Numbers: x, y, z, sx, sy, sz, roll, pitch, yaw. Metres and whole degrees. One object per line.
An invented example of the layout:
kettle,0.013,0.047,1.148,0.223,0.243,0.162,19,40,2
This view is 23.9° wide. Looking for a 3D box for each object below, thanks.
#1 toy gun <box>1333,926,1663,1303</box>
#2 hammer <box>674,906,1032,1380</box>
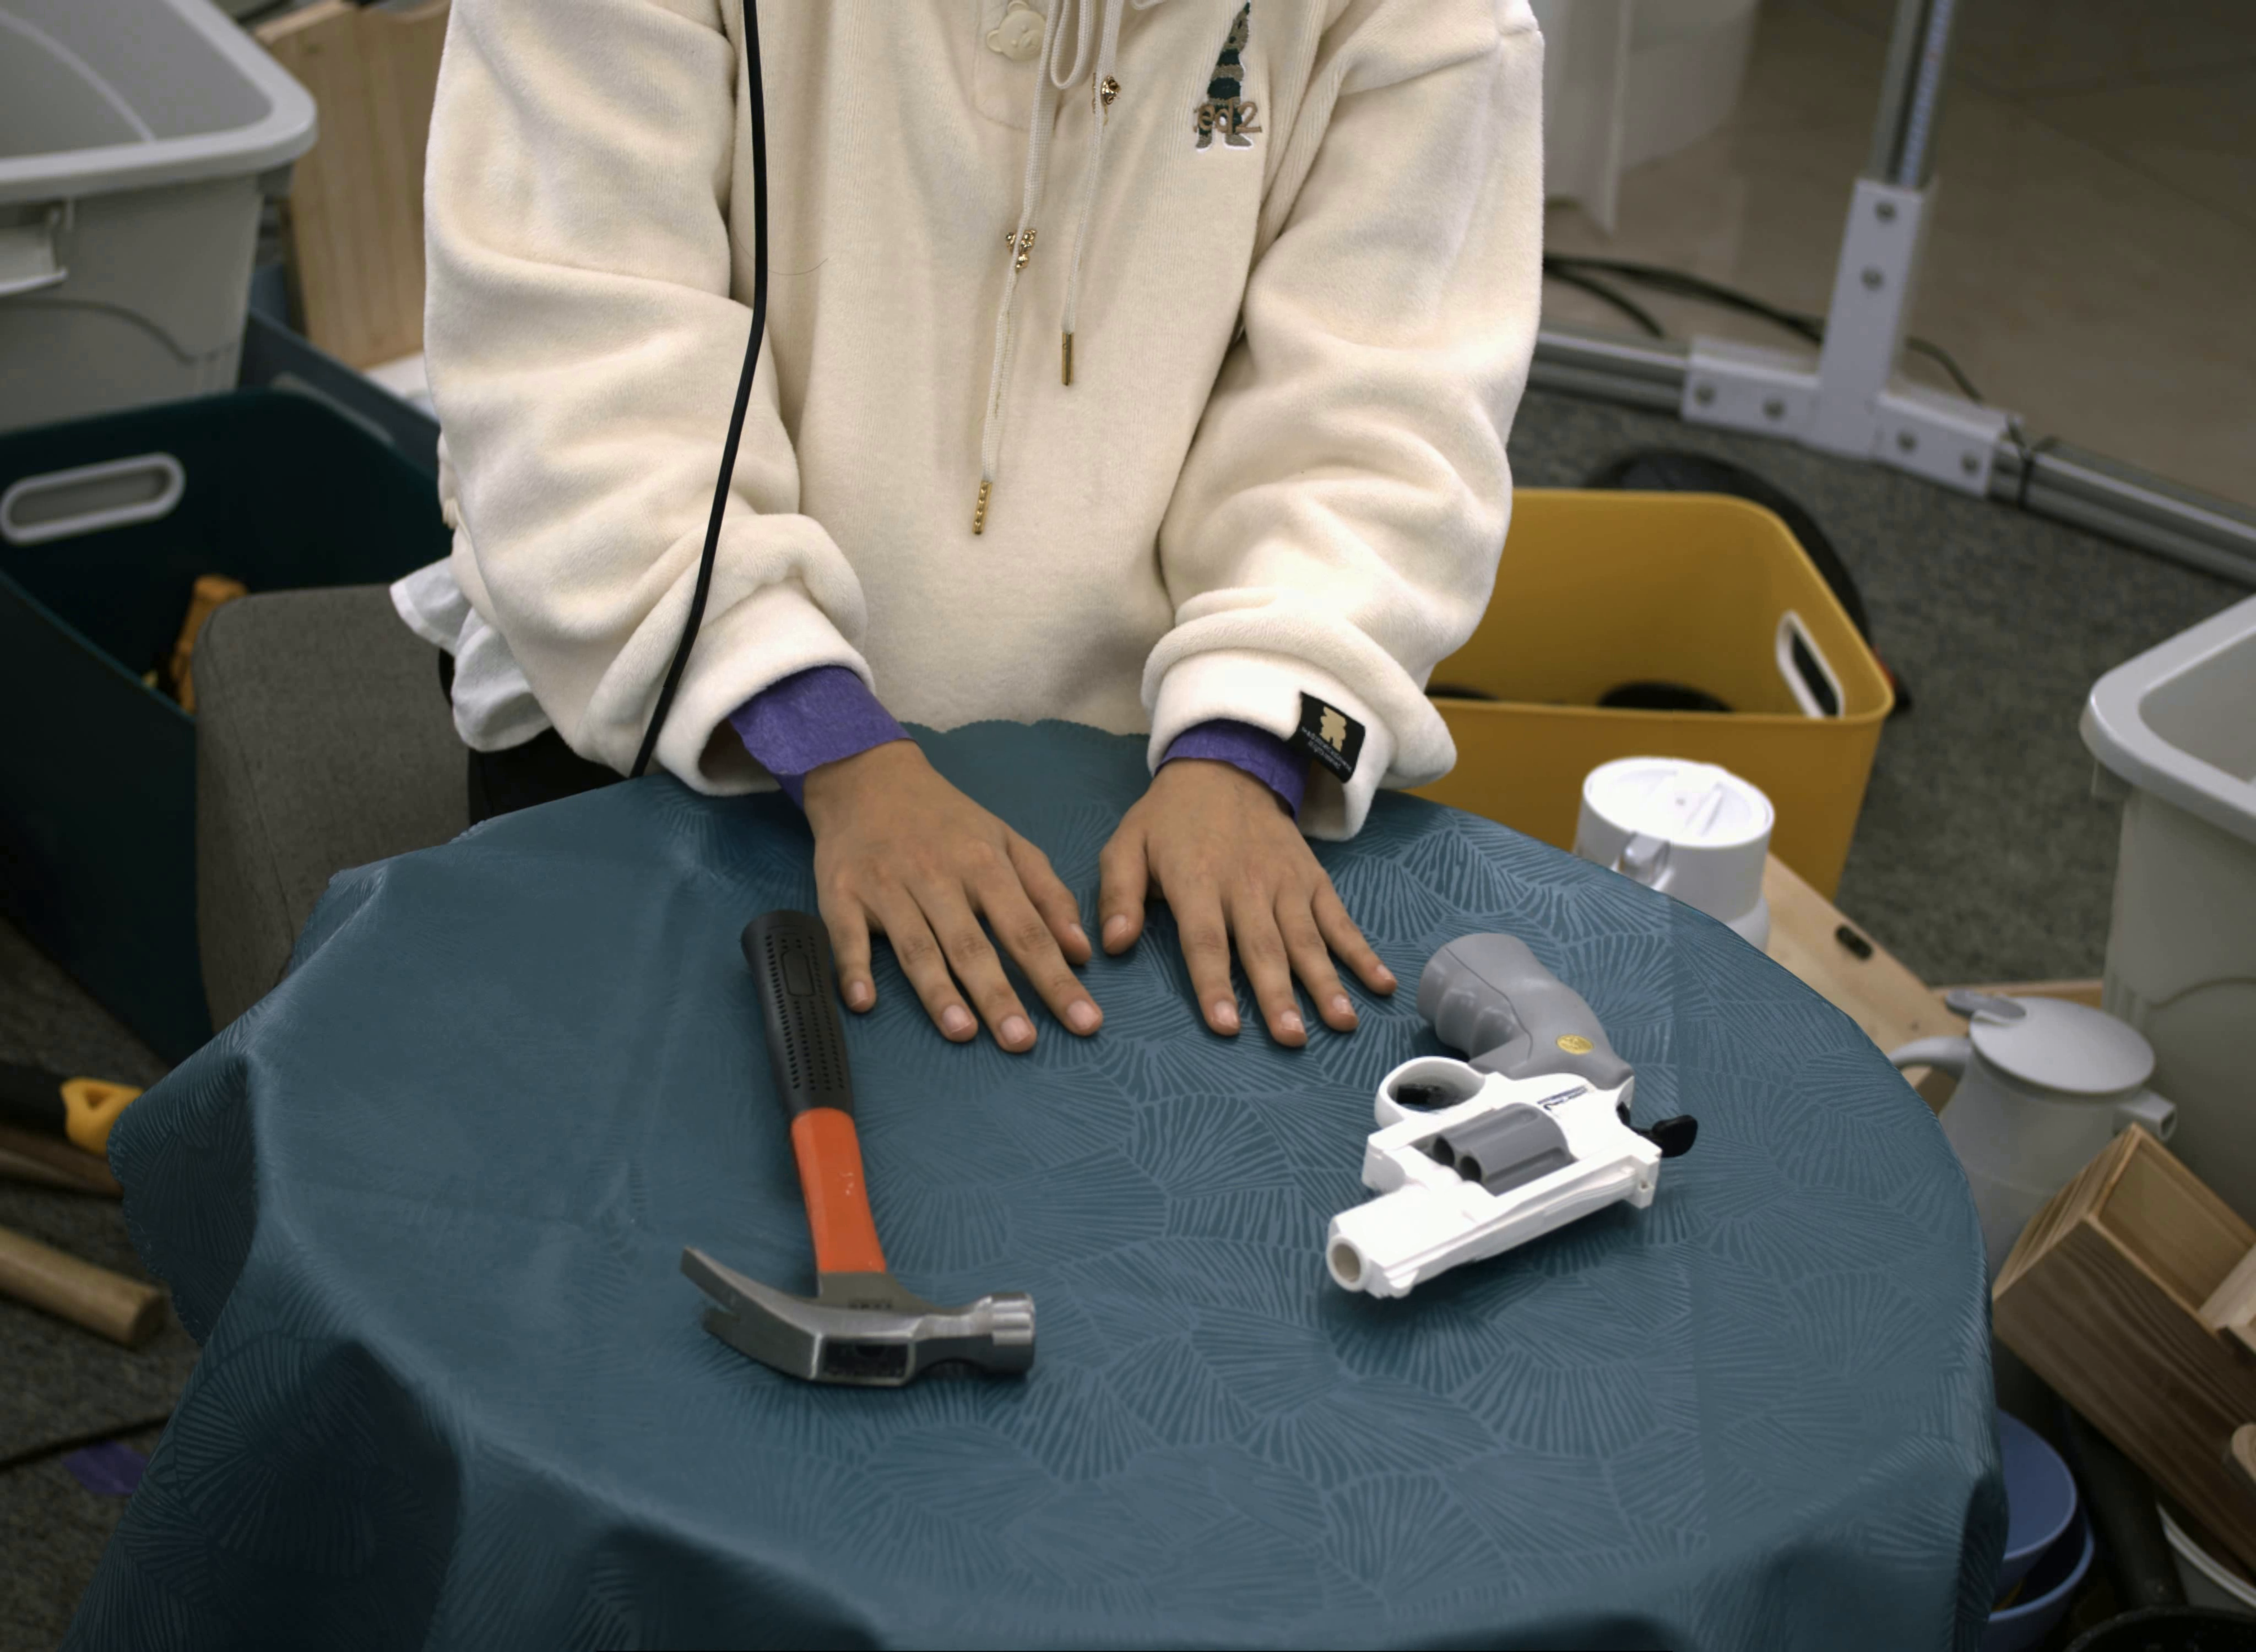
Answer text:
toy gun,0.112,0.099,1.831,0.143,0.038,0.208,31,34,35
hammer,-0.104,0.102,1.790,0.110,0.026,0.279,-6,28,-6
